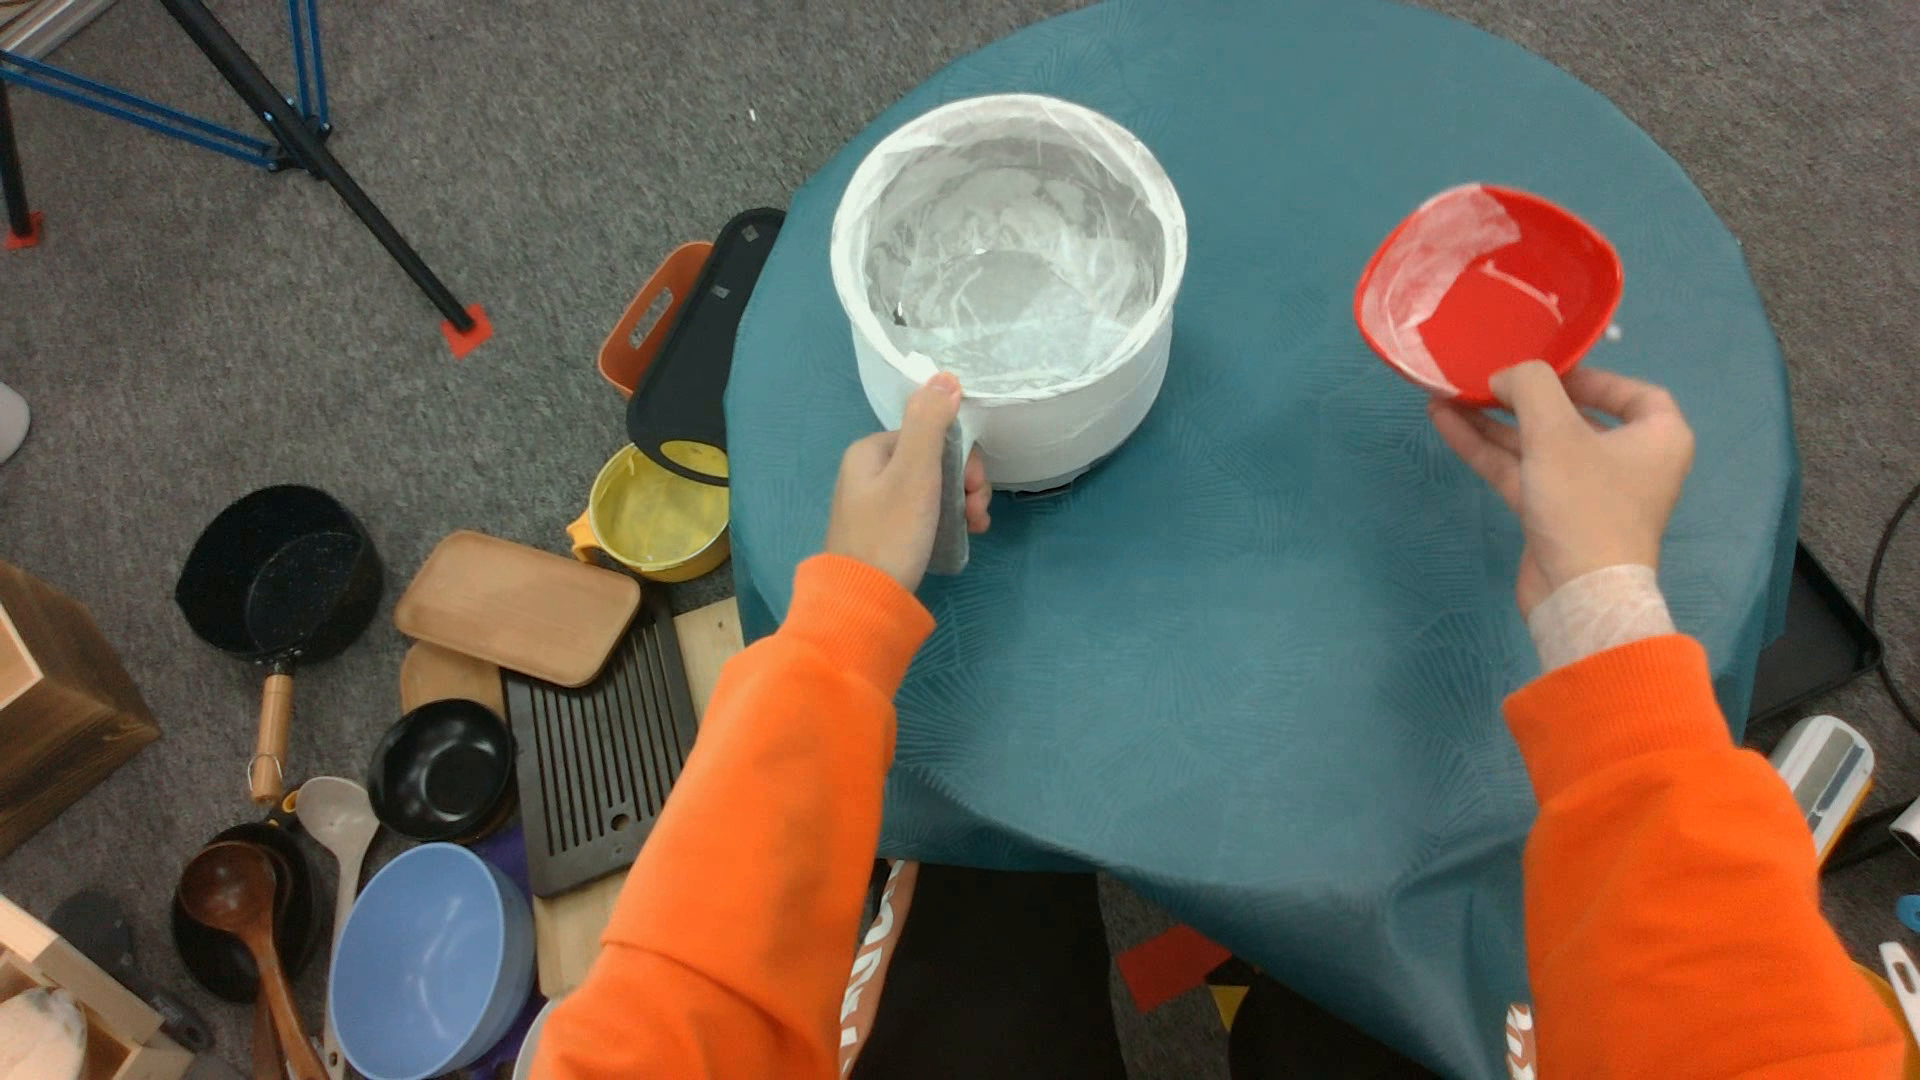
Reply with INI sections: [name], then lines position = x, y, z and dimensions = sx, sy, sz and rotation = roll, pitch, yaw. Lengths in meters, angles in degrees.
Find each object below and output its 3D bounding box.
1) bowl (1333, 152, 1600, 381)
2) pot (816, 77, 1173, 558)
[bowl]
position = 0.243, -0.124, 0.666
dimensions = 0.118, 0.051, 0.119
rotation = -7, 68, 17
[pot]
position = 0.012, -0.110, 0.731
dimensions = 0.178, 0.136, 0.234
rotation = 15, 71, 8
